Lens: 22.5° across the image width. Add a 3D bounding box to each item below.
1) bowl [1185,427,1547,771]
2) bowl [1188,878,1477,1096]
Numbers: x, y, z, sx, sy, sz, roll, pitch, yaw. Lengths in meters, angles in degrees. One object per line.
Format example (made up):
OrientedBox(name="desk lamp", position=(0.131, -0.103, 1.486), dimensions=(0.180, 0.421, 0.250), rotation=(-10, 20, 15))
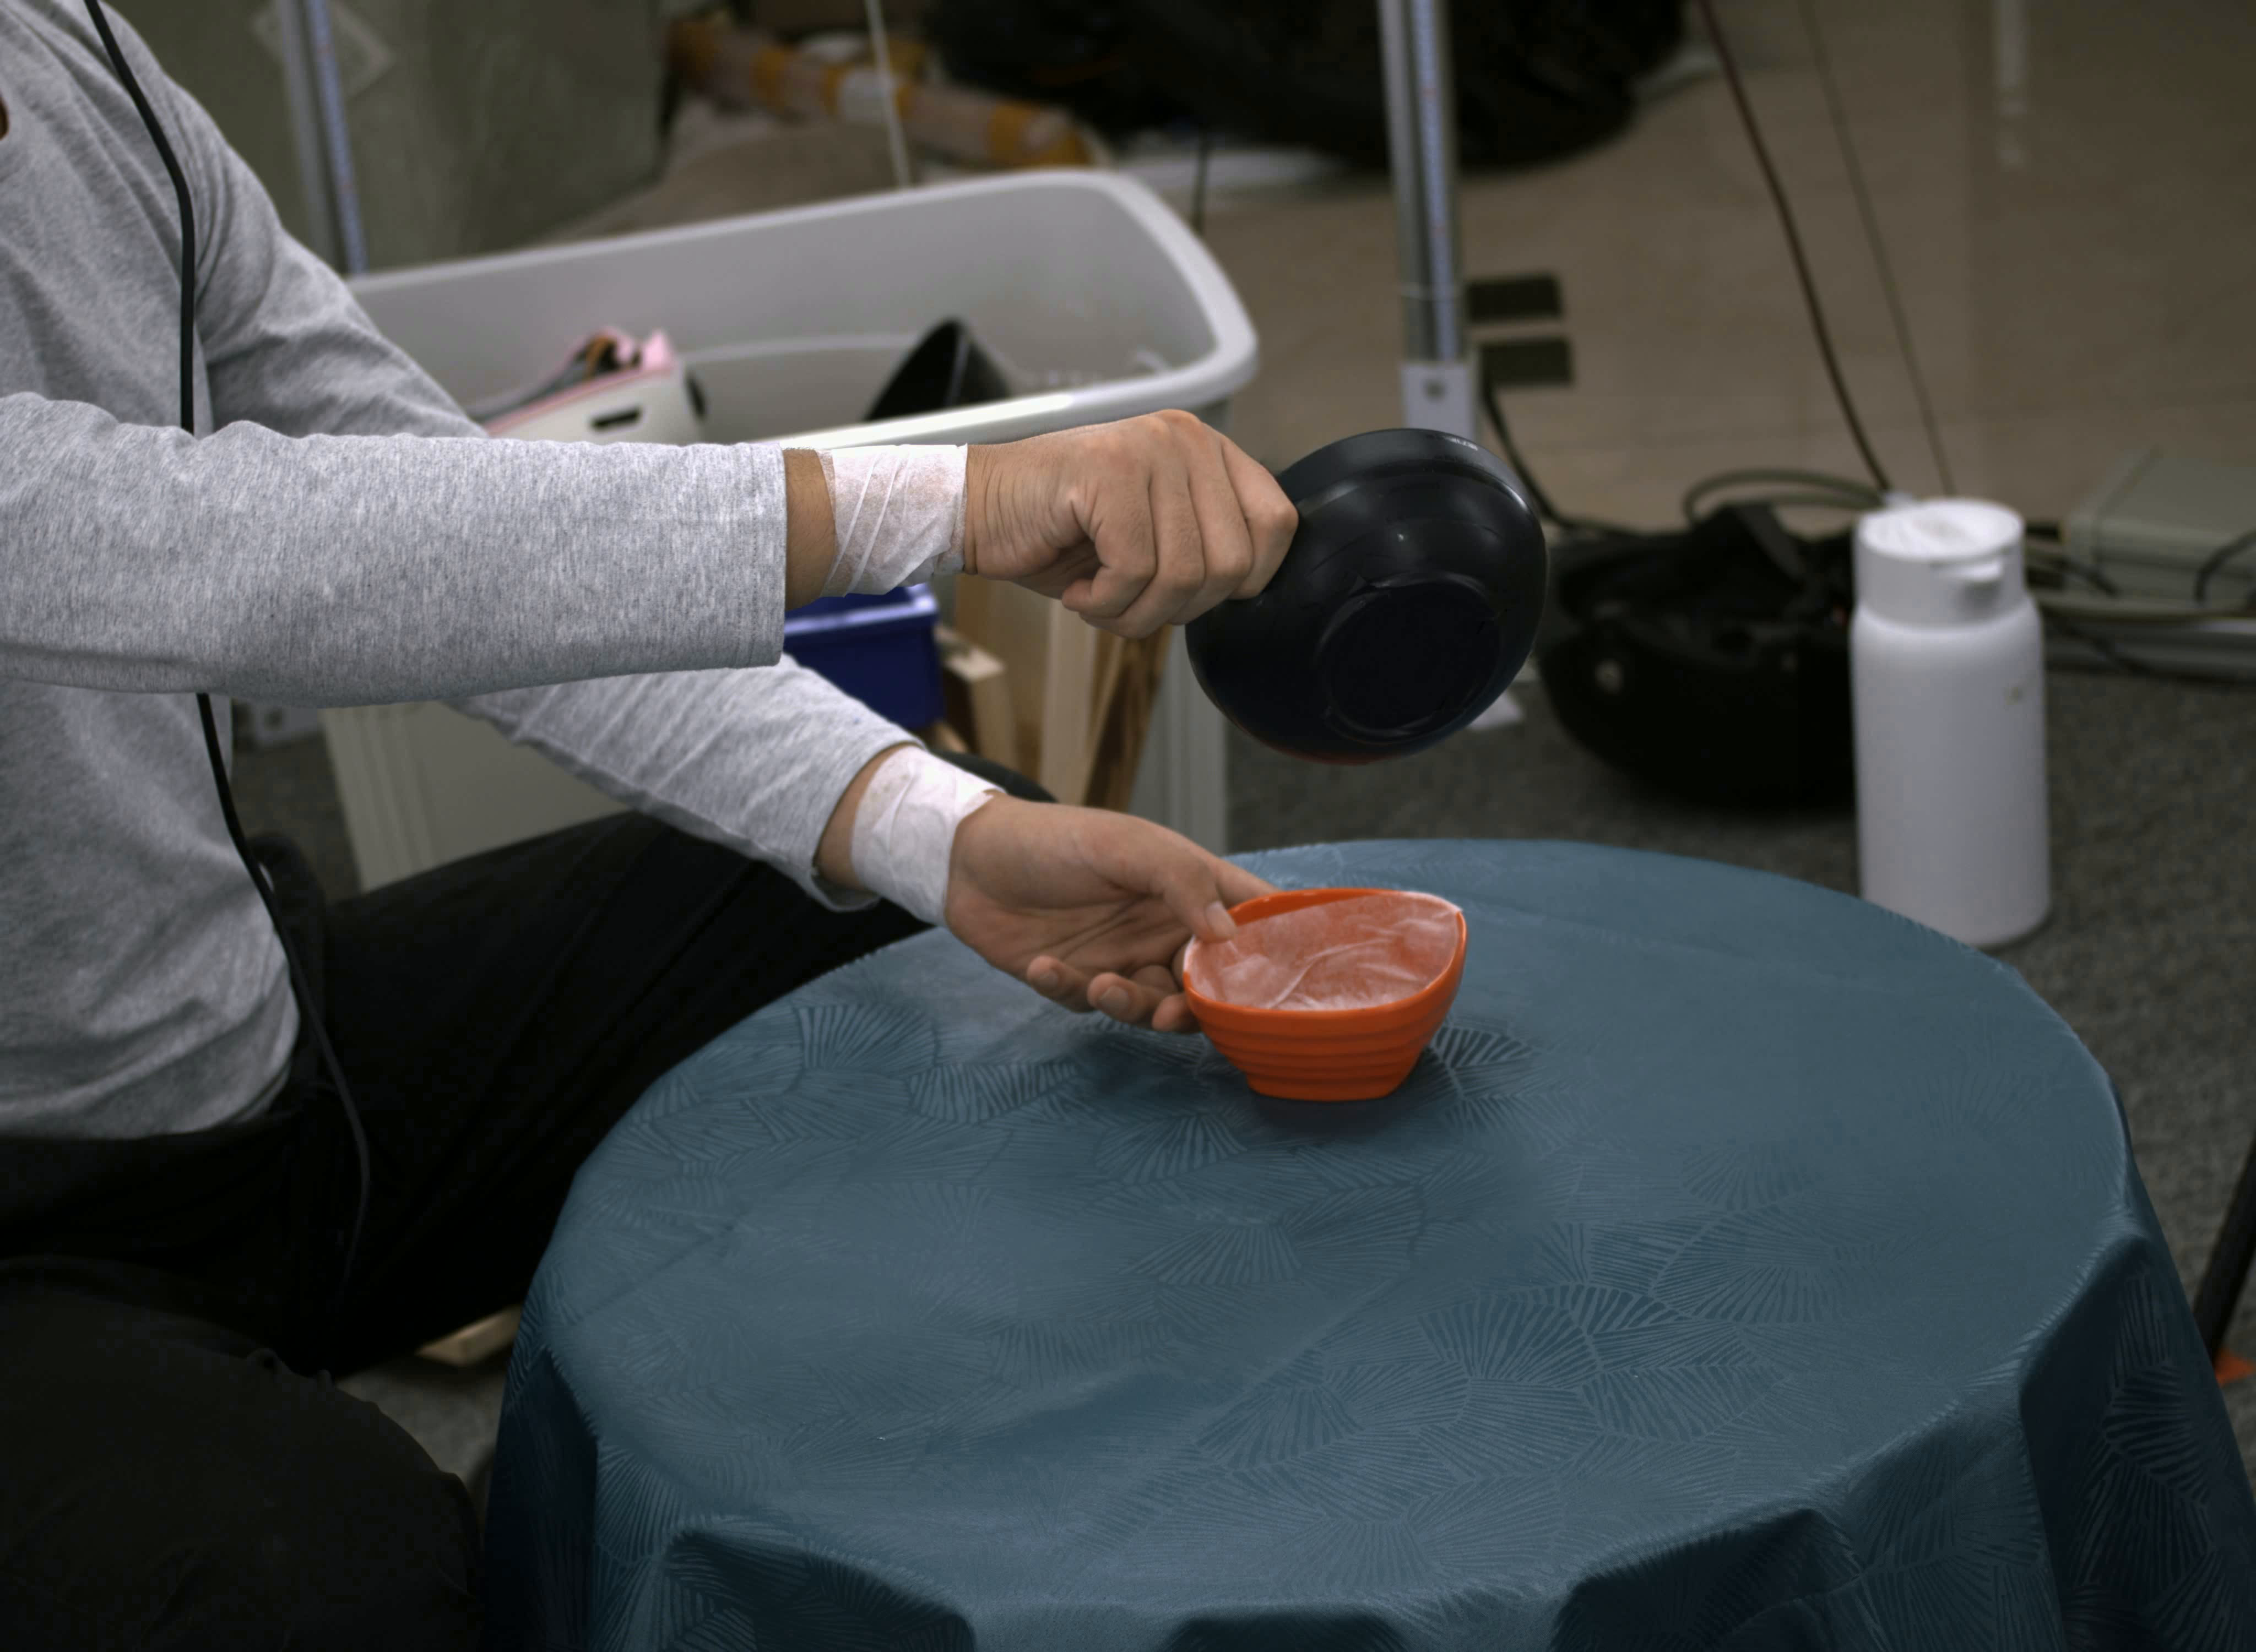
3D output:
OrientedBox(name="bowl", position=(0.093, -0.072, 2.036), dimensions=(0.139, 0.143, 0.049), rotation=(-14, 40, -16))
OrientedBox(name="bowl", position=(0.081, 0.067, 2.220), dimensions=(0.119, 0.052, 0.117), rotation=(-3, 27, 2))
